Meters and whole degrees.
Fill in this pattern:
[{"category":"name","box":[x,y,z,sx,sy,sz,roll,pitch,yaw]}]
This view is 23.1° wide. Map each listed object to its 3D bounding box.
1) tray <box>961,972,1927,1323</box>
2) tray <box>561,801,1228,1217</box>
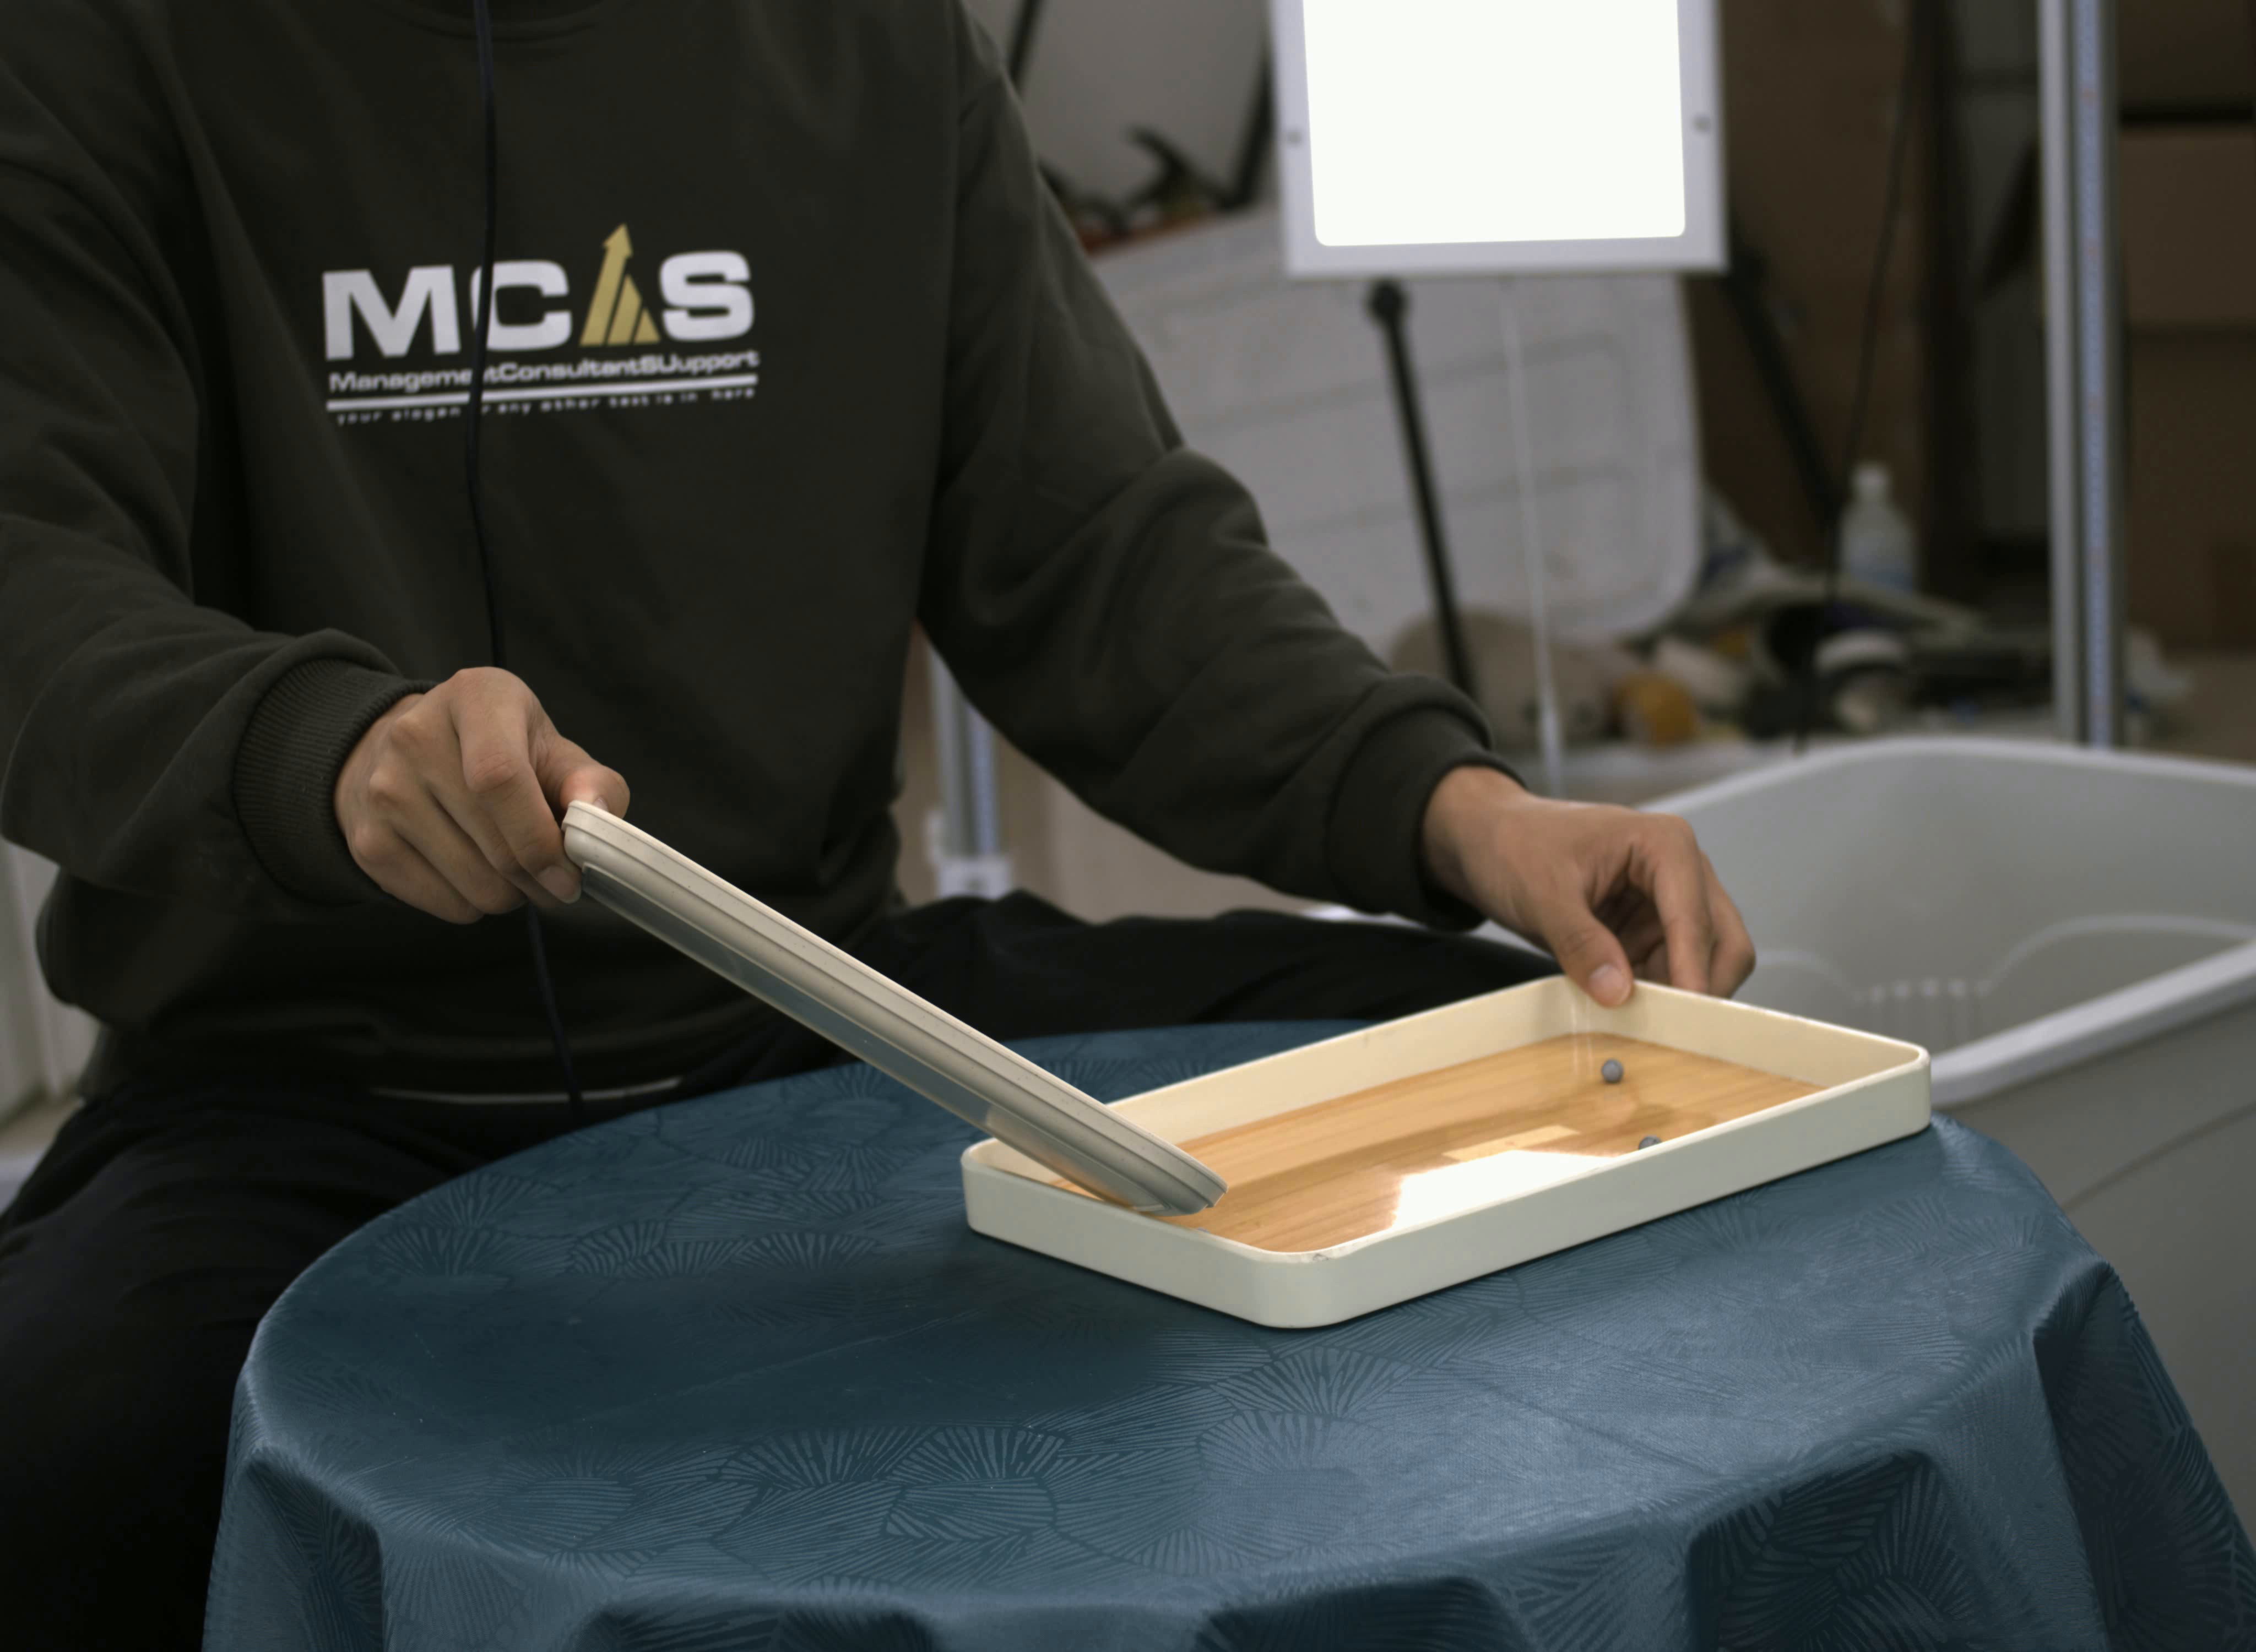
[{"category":"tray","box":[0.111,0.106,1.887,0.293,0.027,0.195,-14,16,-34]},{"category":"tray","box":[-0.080,0.063,1.770,0.239,0.017,0.172,31,-7,-2]}]
